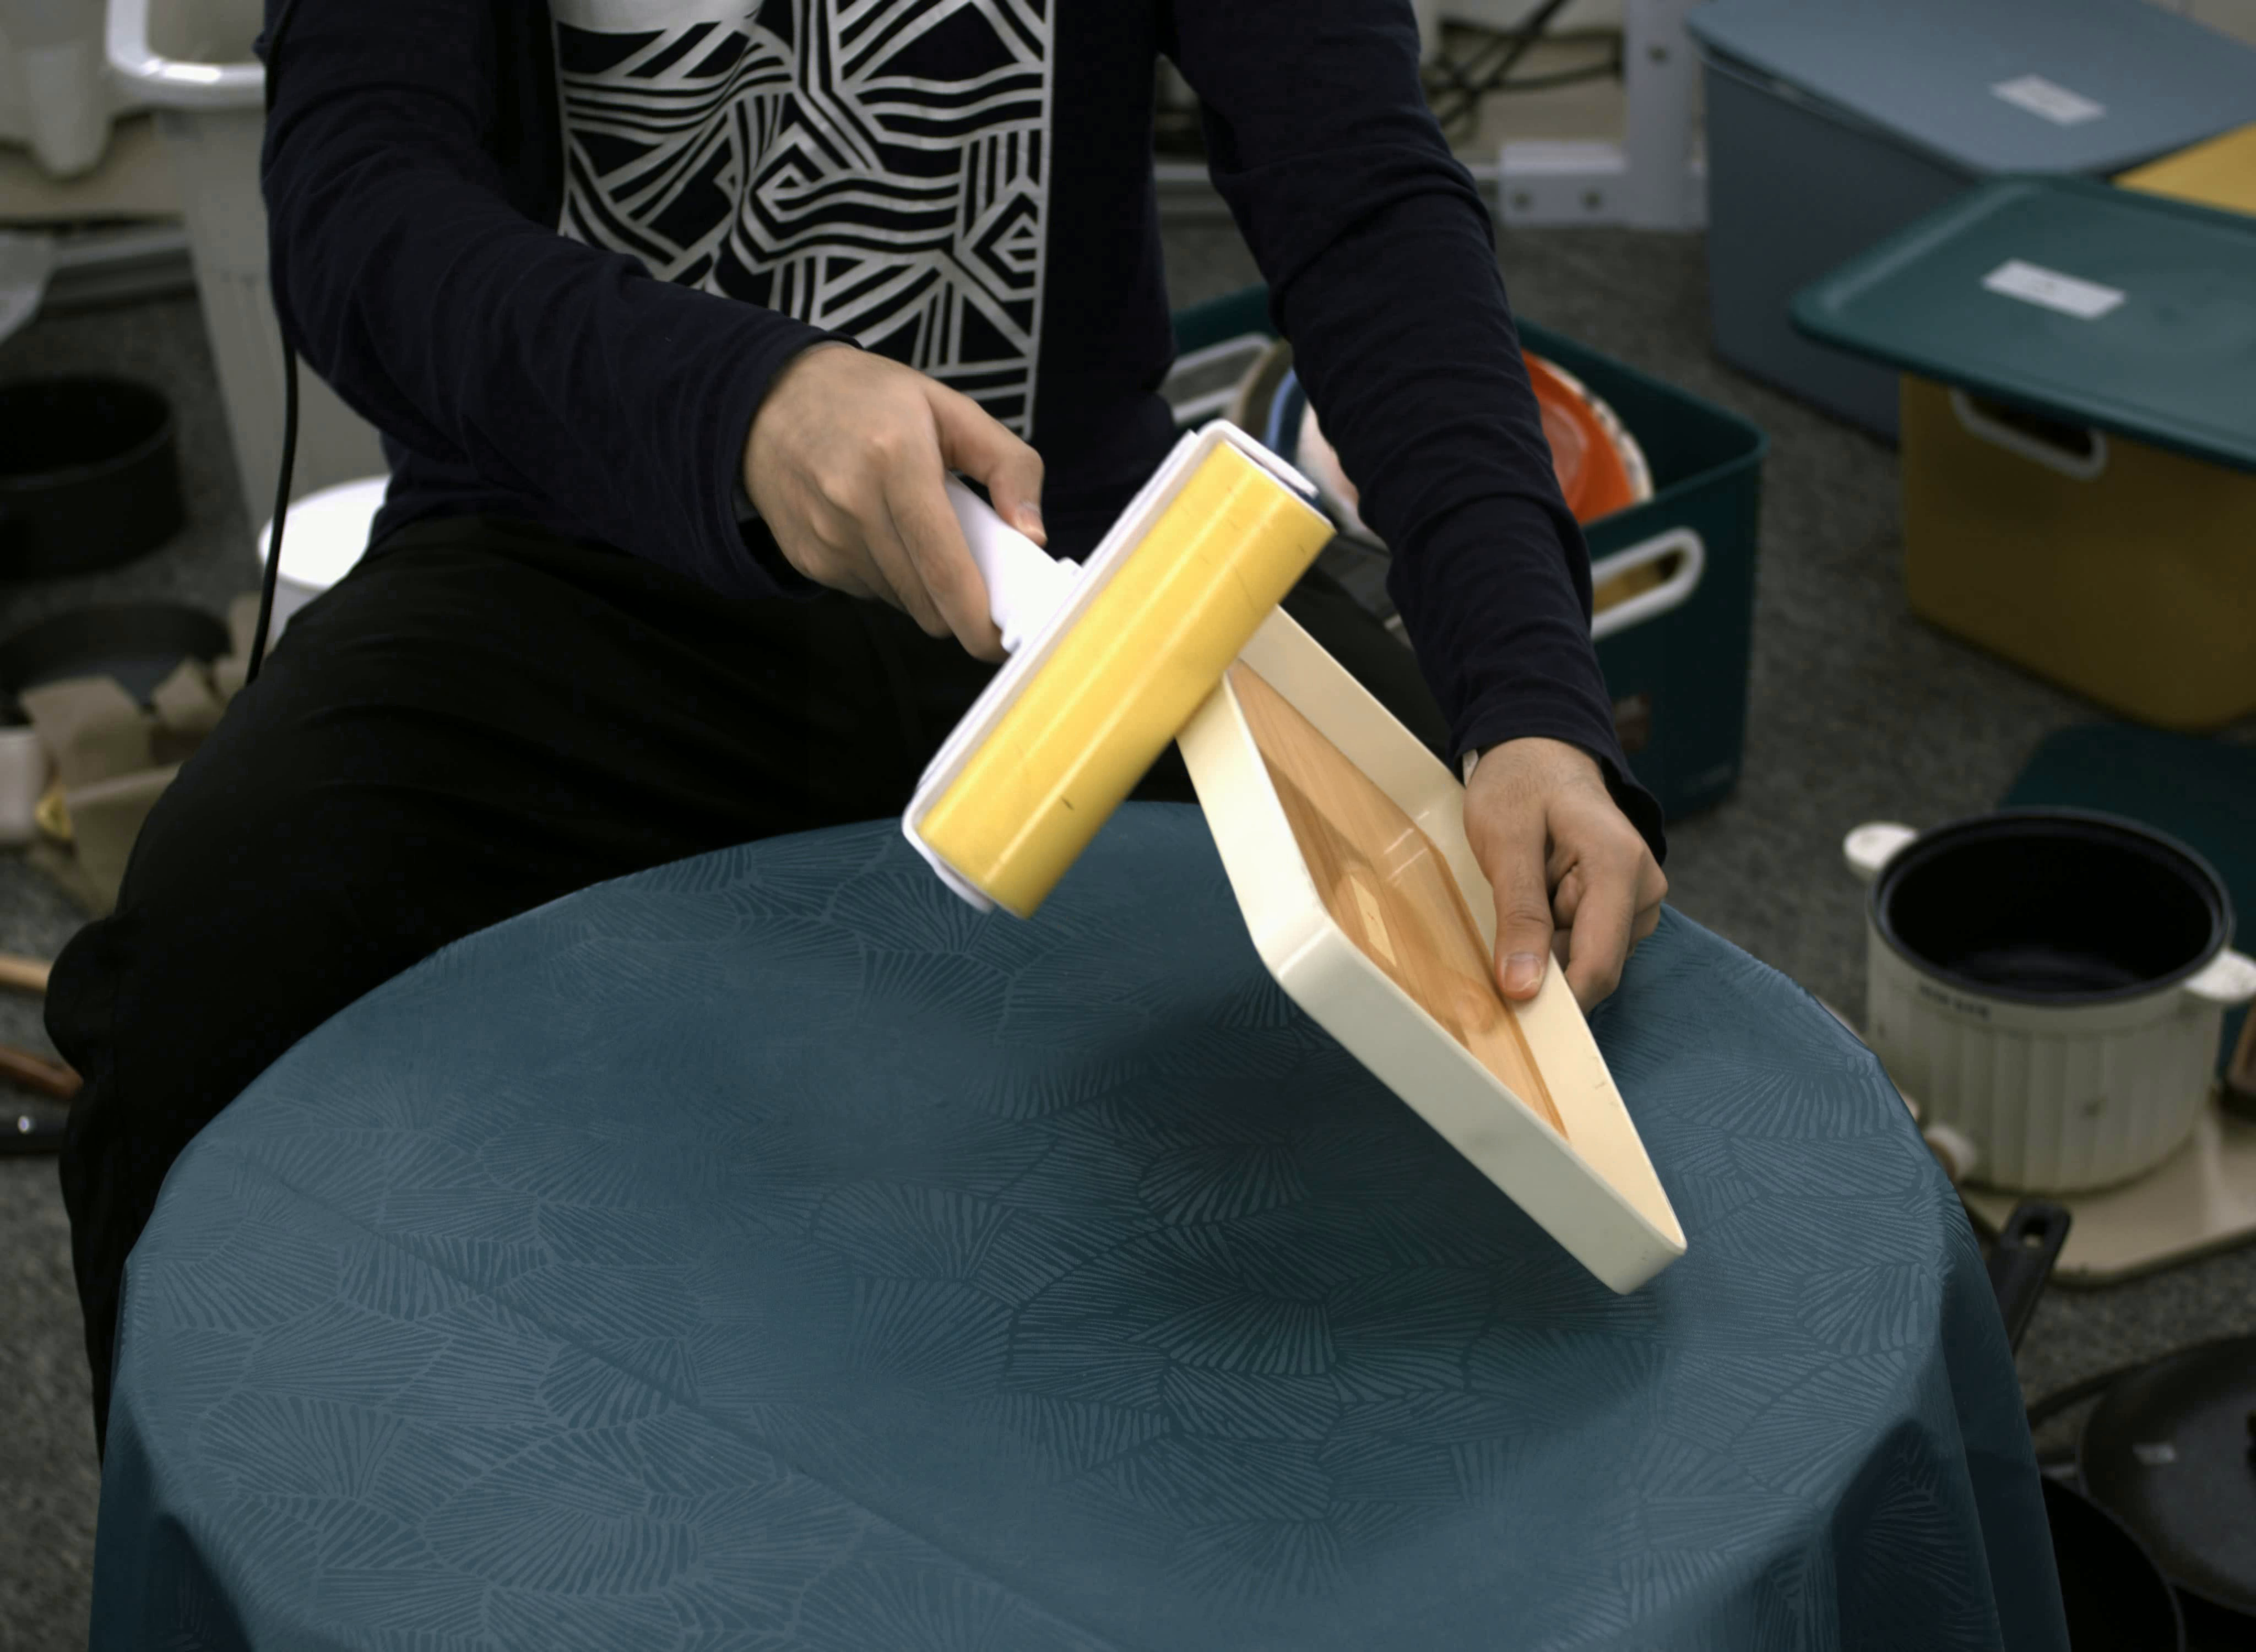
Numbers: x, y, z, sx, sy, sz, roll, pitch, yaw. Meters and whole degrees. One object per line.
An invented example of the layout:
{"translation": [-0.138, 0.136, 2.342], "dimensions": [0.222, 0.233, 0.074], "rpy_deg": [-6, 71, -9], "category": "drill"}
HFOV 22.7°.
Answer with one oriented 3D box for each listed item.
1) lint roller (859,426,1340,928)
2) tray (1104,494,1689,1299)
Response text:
{"translation": [-0.041, -0.078, 1.849], "dimensions": [0.174, 0.051, 0.193], "rpy_deg": [-52, 50, 0], "category": "lint roller"}
{"translation": [0.084, 0.018, 1.851], "dimensions": [0.027, 0.190, 0.304], "rpy_deg": [-40, 29, 12], "category": "tray"}
